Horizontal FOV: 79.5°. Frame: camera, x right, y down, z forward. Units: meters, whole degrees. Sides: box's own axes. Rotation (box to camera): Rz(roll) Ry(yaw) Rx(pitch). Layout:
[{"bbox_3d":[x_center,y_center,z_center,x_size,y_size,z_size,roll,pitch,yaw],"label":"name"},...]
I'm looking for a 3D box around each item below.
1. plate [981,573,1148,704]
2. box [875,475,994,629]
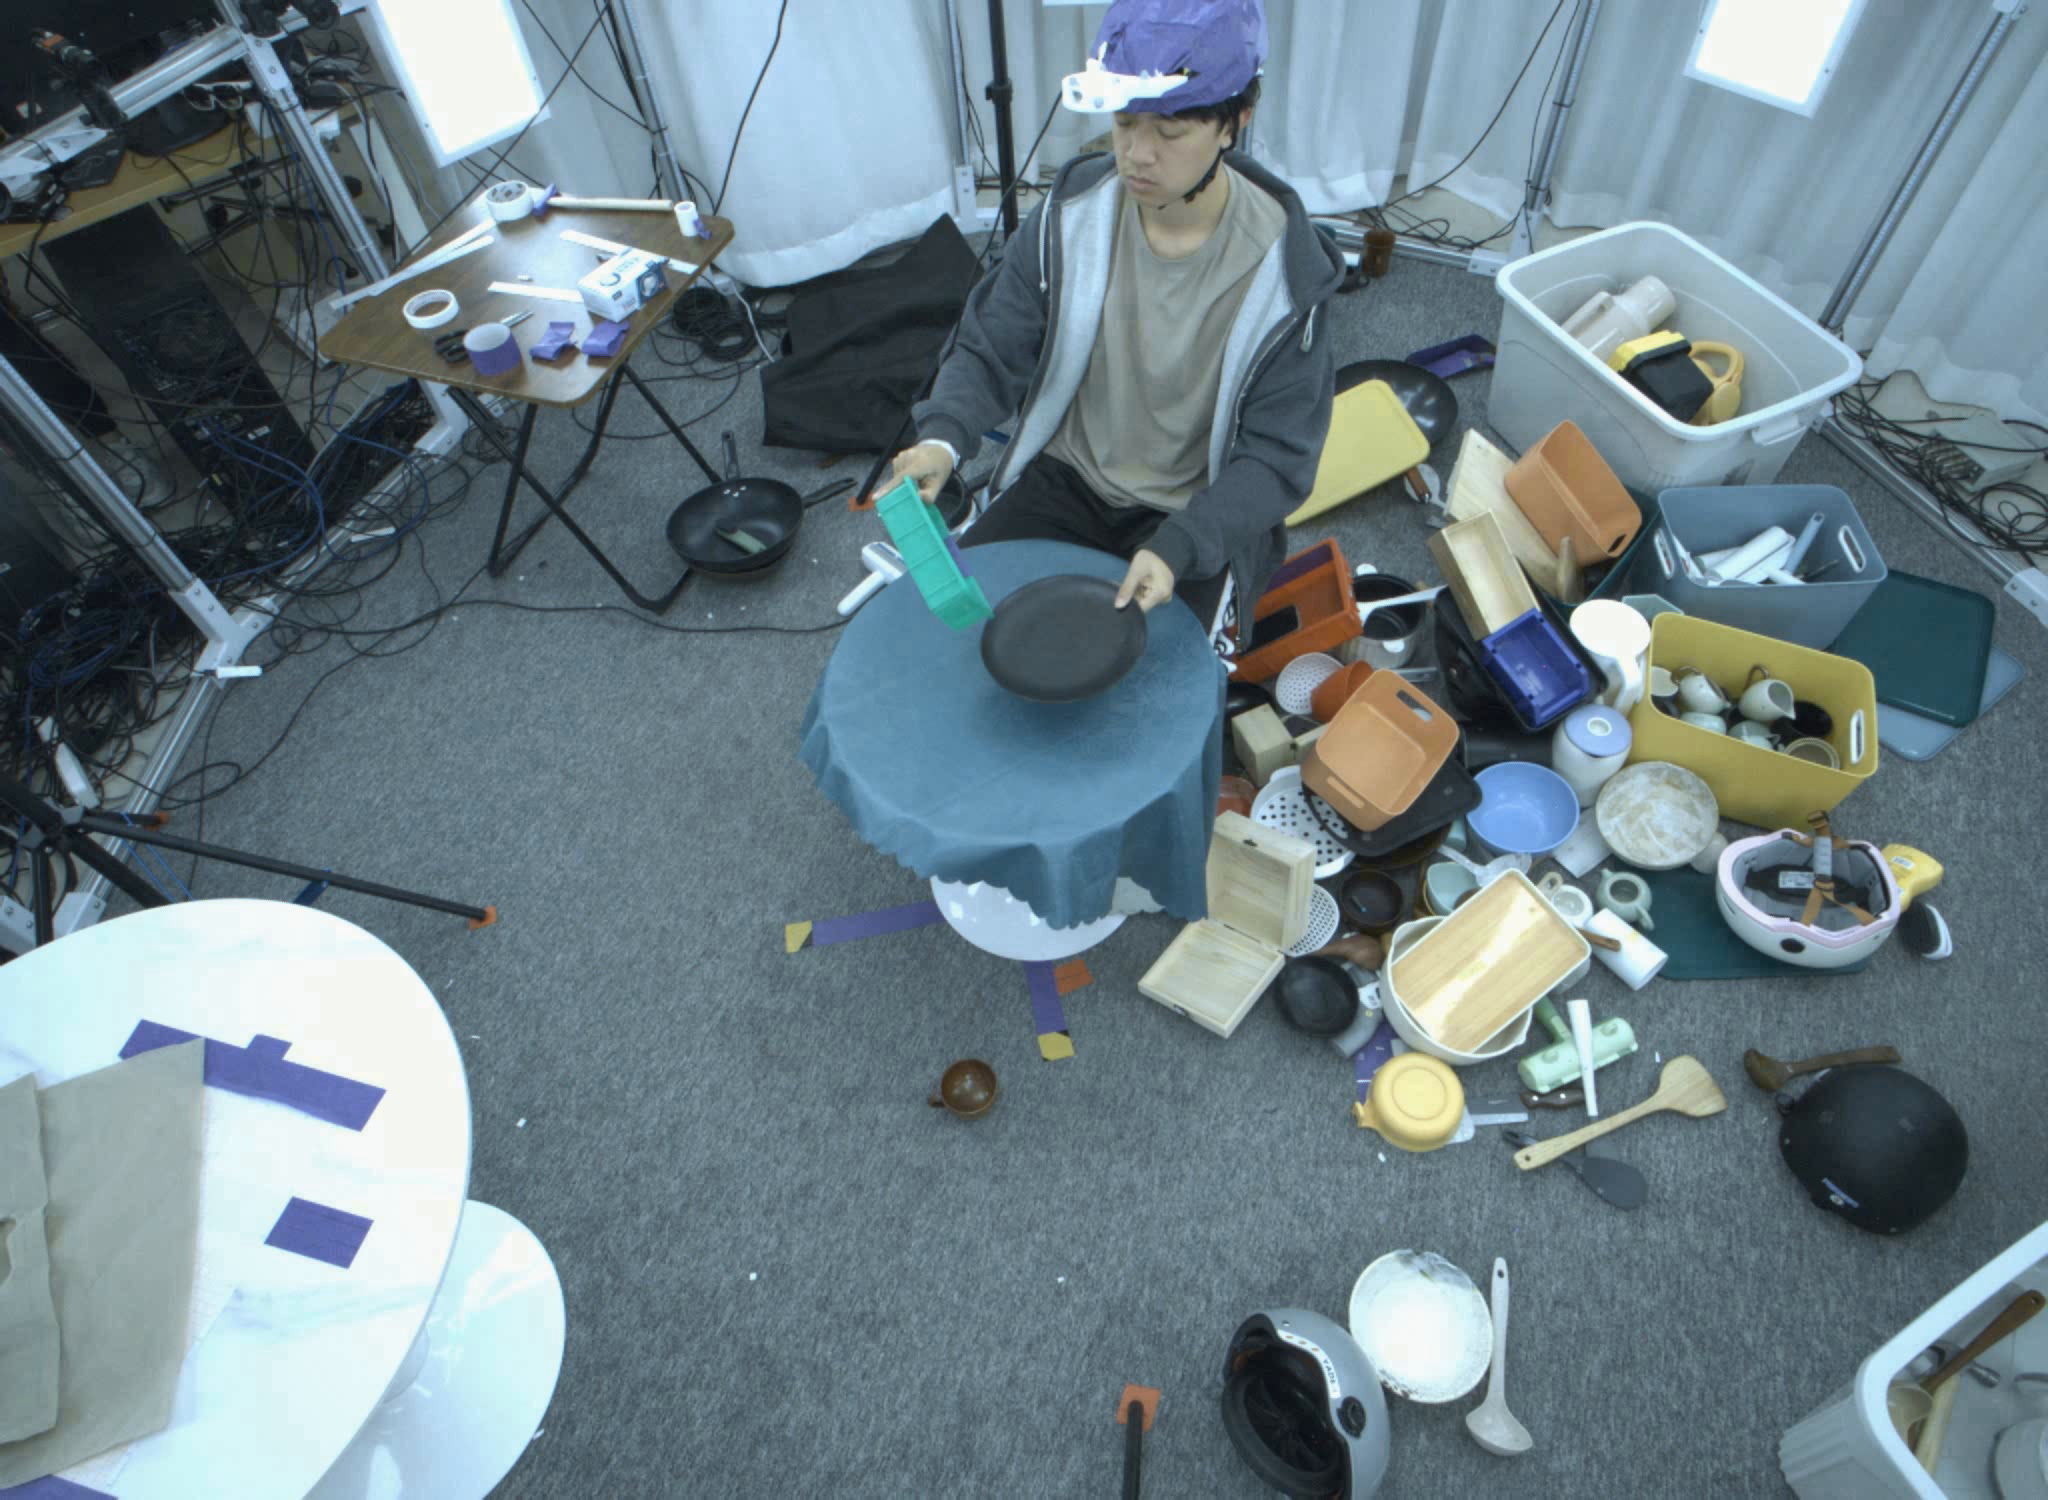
[{"bbox_3d":[0.058,-0.160,1.783,0.243,0.024,0.242,-4,55,7],"label":"plate"},{"bbox_3d":[-0.128,-0.271,1.708,0.065,0.140,0.209,-31,78,5],"label":"box"}]
